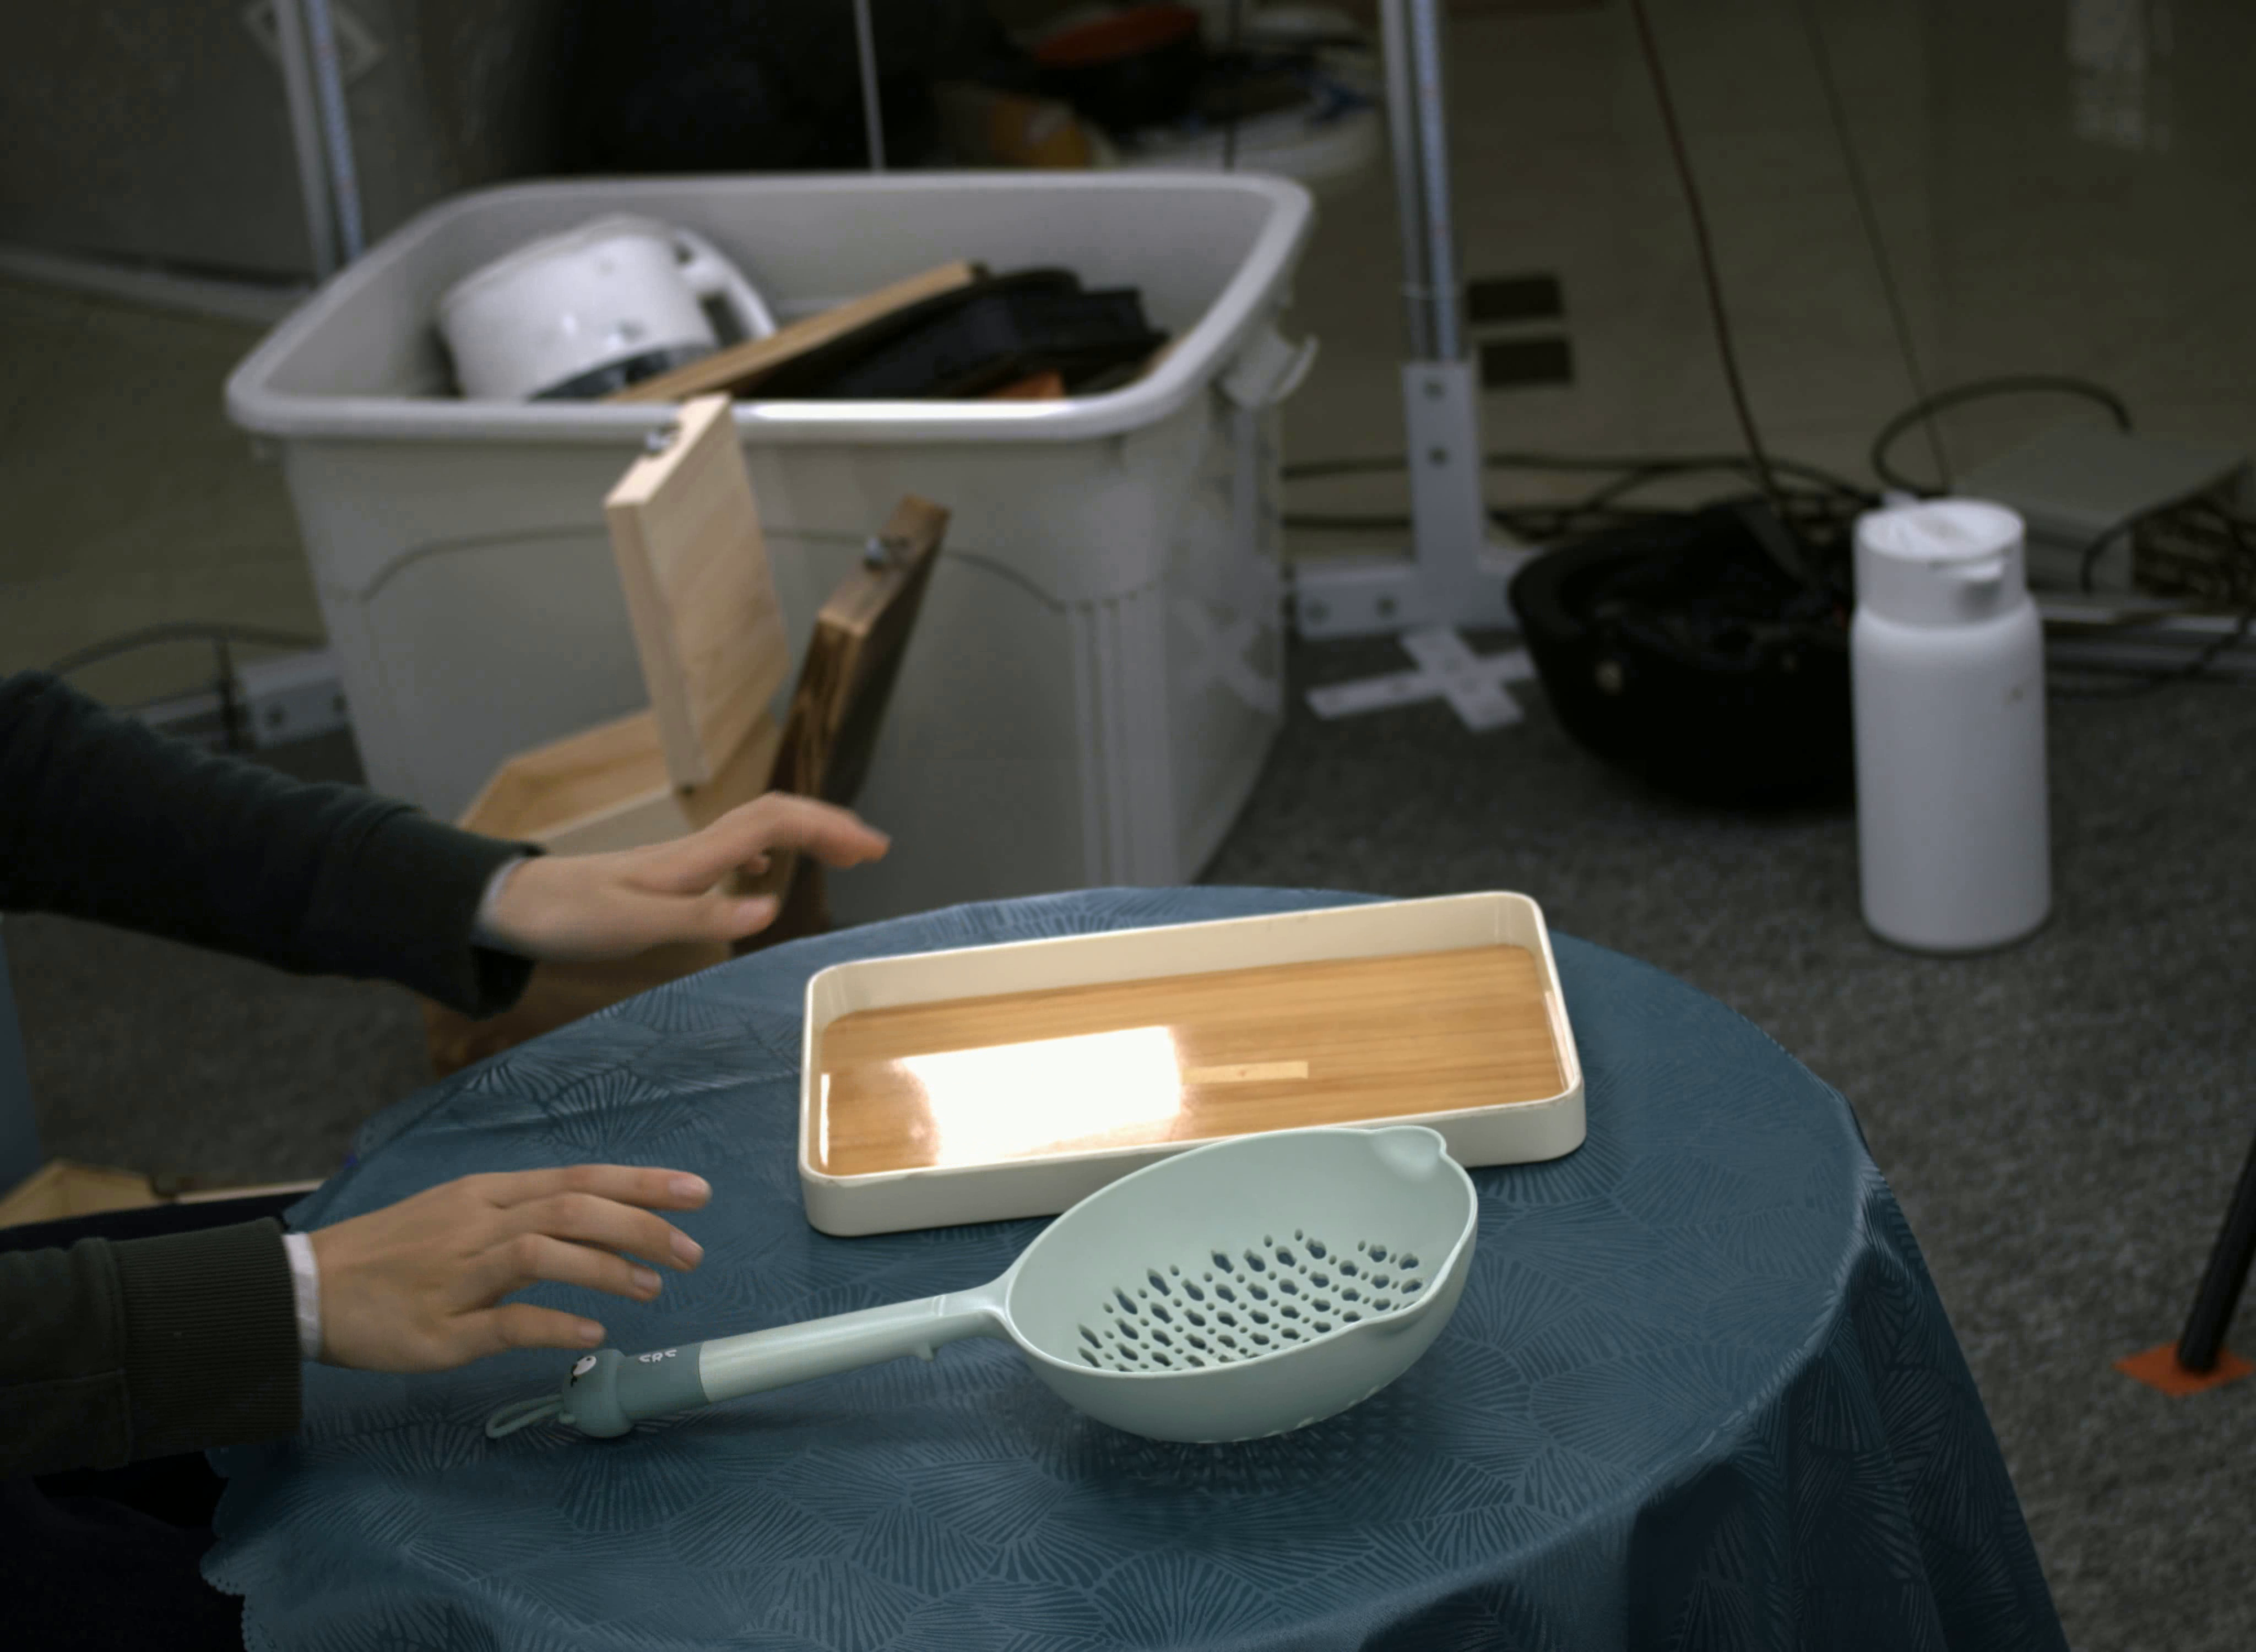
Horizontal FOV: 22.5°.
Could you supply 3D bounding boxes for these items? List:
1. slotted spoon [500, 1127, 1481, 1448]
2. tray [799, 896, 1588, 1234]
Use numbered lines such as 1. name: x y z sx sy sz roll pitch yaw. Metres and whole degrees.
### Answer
1. slotted spoon: -0.052 0.178 2.006 0.358 0.076 0.167 -3 24 6
2. tray: 0.023 0.092 2.218 0.300 0.028 0.189 -6 25 1
